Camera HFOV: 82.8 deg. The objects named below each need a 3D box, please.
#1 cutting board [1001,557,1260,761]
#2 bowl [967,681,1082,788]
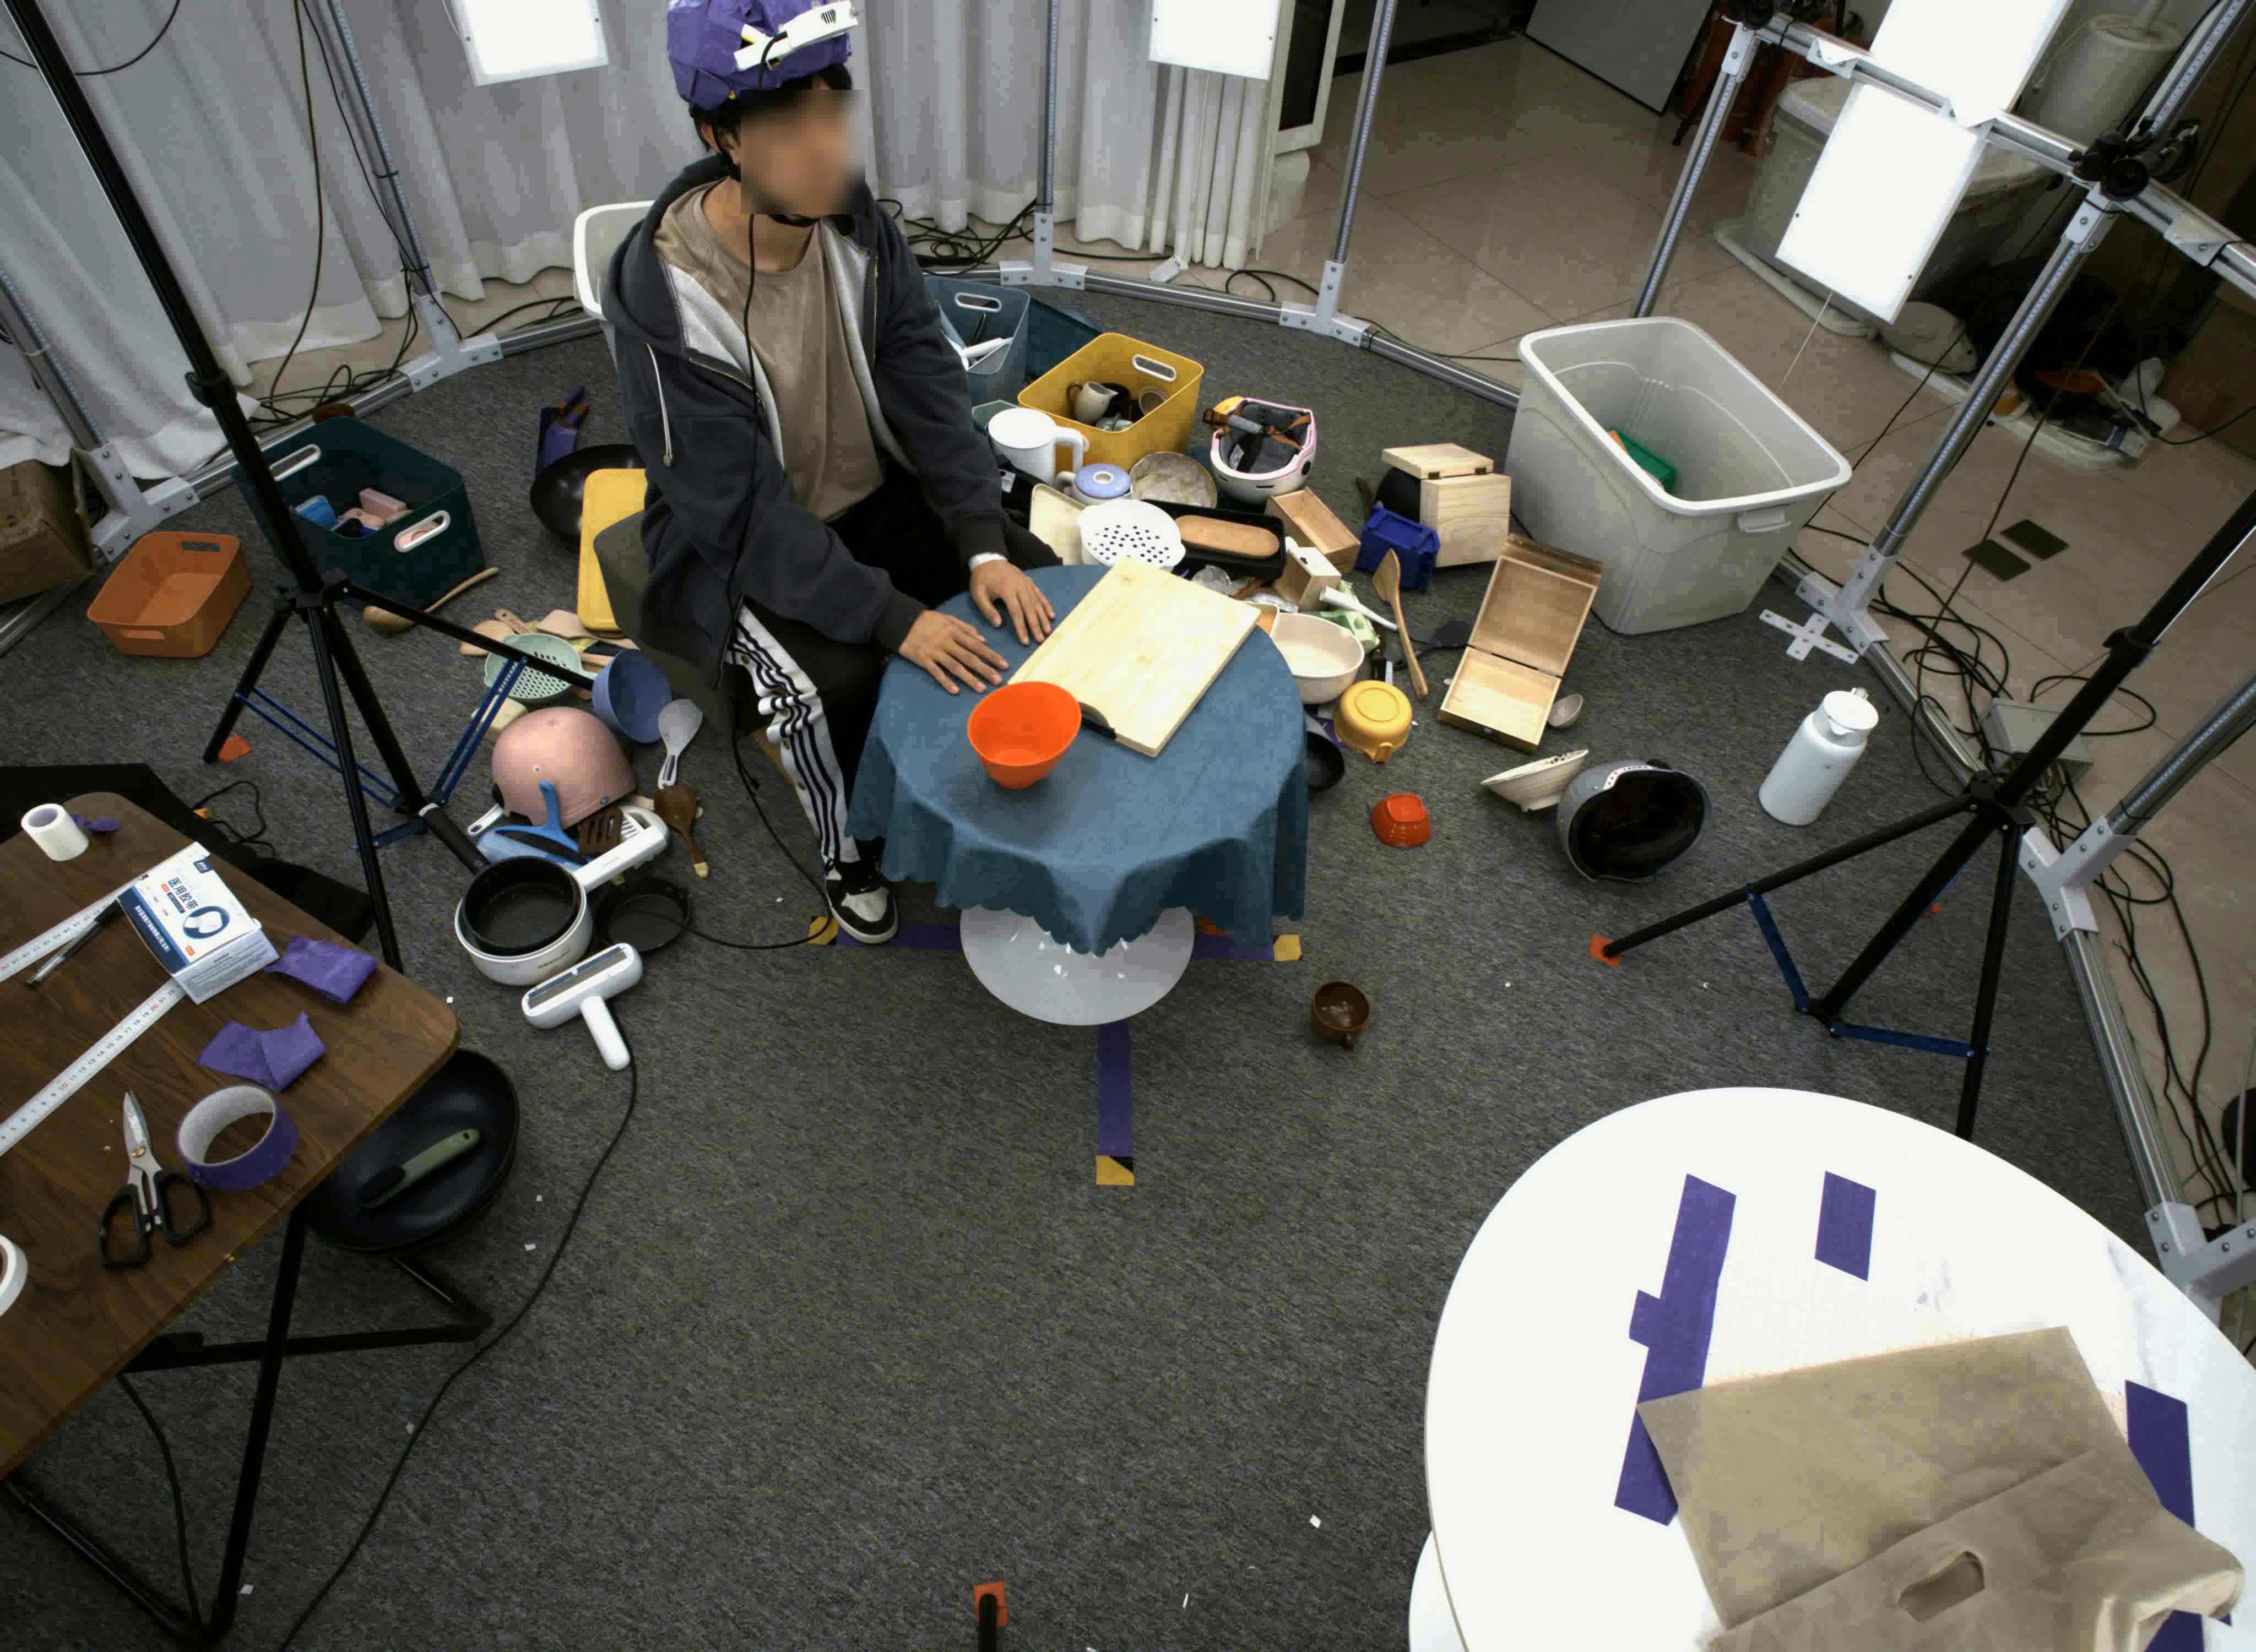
[{"bbox_3d":[0.011,-0.254,1.878,0.252,0.023,0.354,24,51,17],"label":"cutting board"},{"bbox_3d":[-0.137,-0.108,1.684,0.148,0.102,0.151,2,51,-3],"label":"bowl"}]
